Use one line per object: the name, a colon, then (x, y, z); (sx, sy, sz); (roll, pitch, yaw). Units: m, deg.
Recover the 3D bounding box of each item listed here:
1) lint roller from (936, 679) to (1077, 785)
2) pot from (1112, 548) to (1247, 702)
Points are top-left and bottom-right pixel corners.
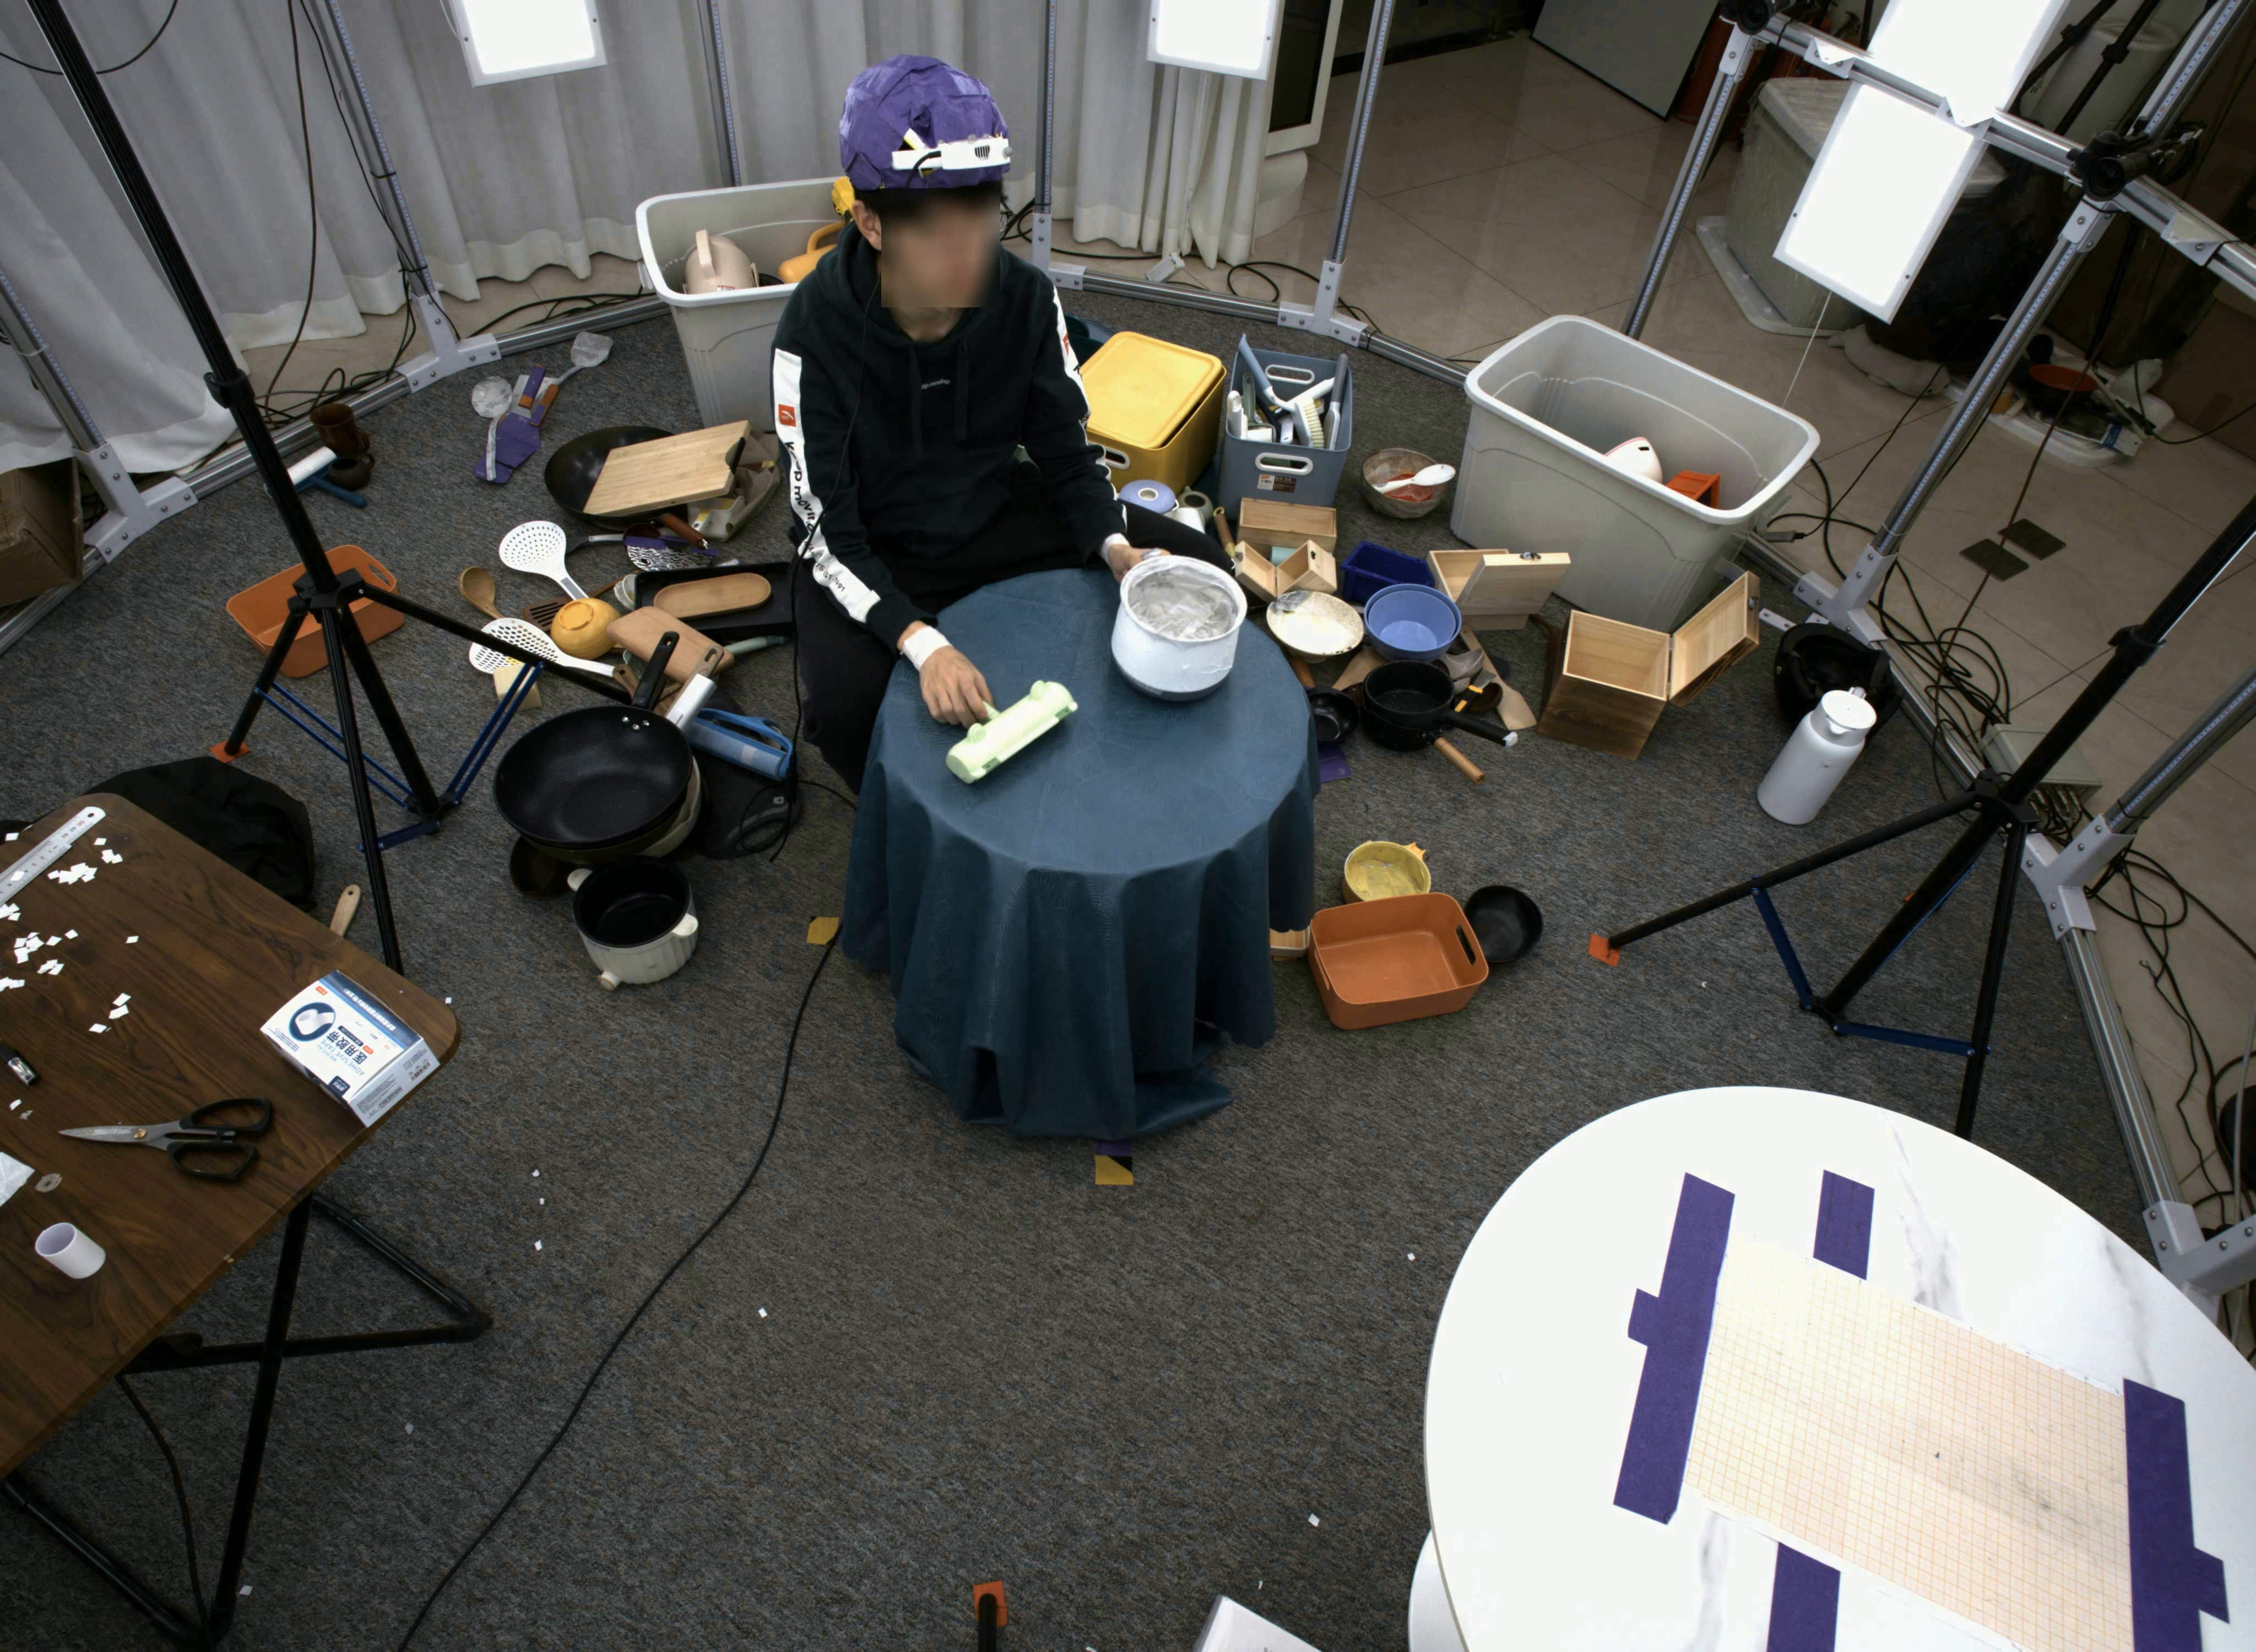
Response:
lint roller: (-0.198, -0.164, 1.747); (0.186, 0.080, 0.200); (40, 58, 22)
pot: (0.059, -0.295, 1.832); (0.179, 0.133, 0.239); (-13, 54, -19)
